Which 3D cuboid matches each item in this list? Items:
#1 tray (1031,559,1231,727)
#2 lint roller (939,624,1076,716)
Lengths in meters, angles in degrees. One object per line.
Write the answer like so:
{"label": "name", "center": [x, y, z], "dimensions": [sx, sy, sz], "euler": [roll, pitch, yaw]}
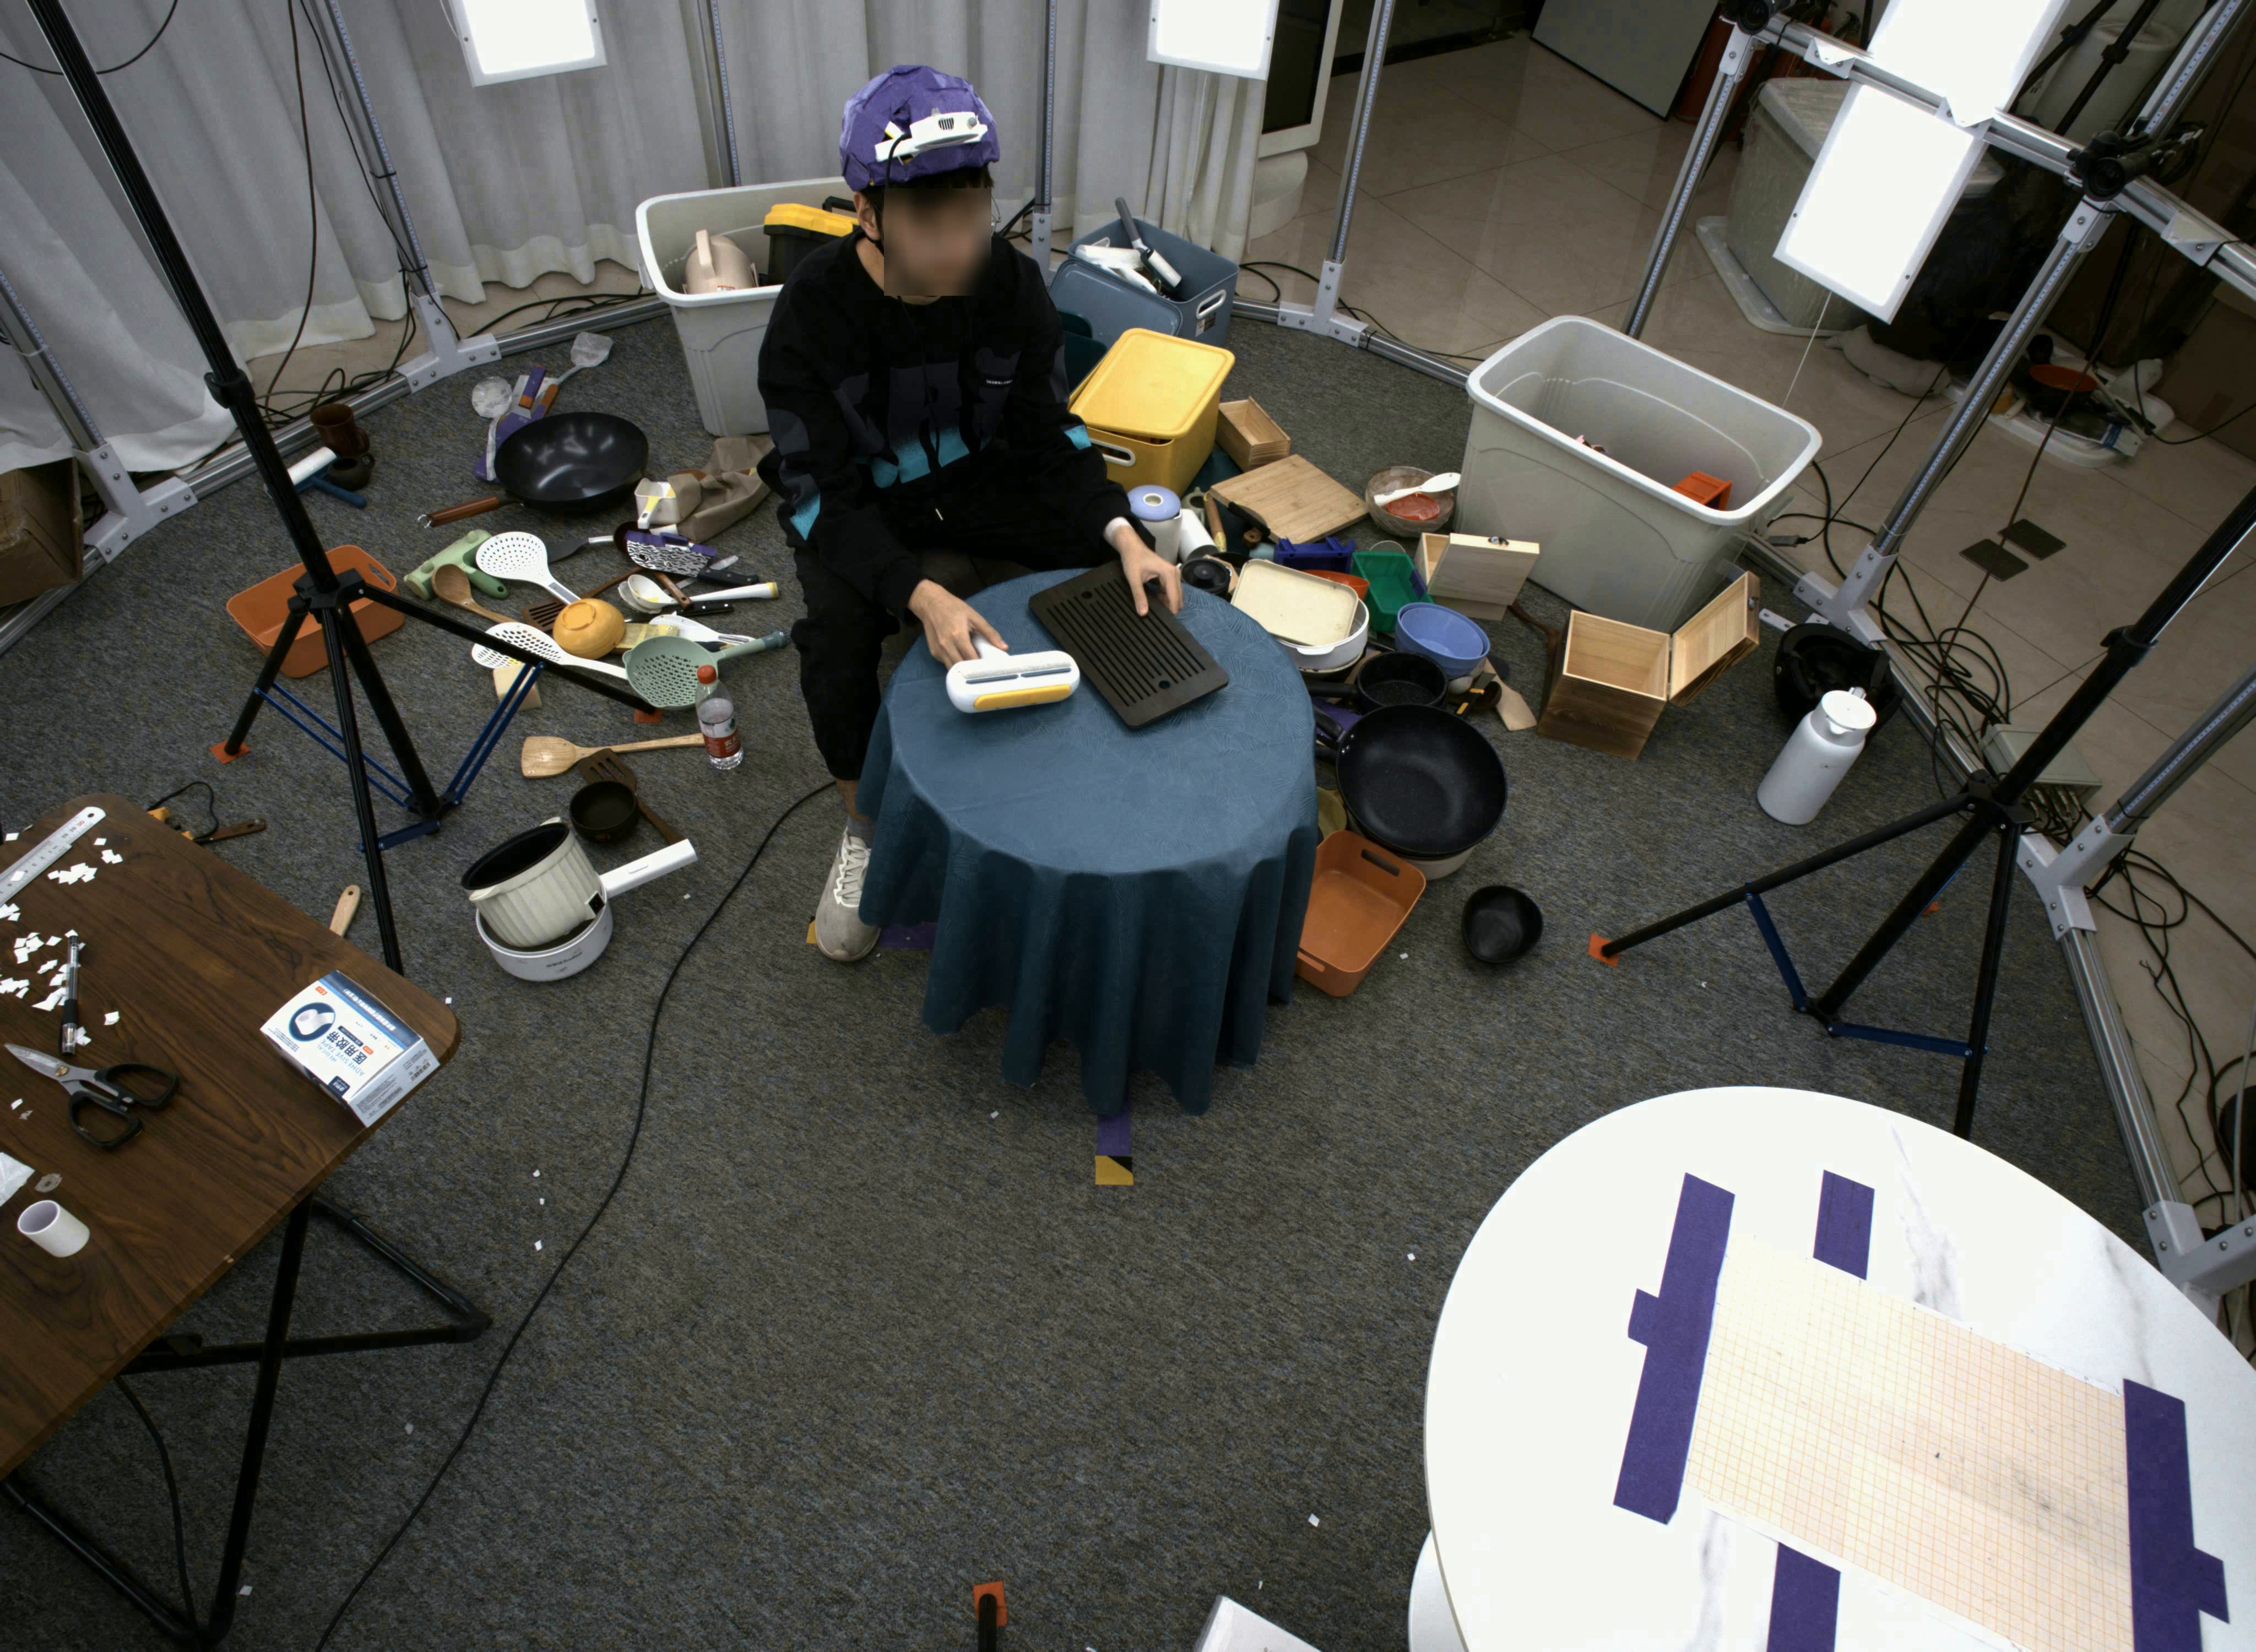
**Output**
{"label": "tray", "center": [0.000, -0.272, 1.882], "dimensions": [0.171, 0.018, 0.312], "euler": [-26, 55, -17]}
{"label": "lint roller", "center": [-0.187, -0.235, 1.815], "dimensions": [0.193, 0.072, 0.197], "euler": [-11, 49, -22]}
